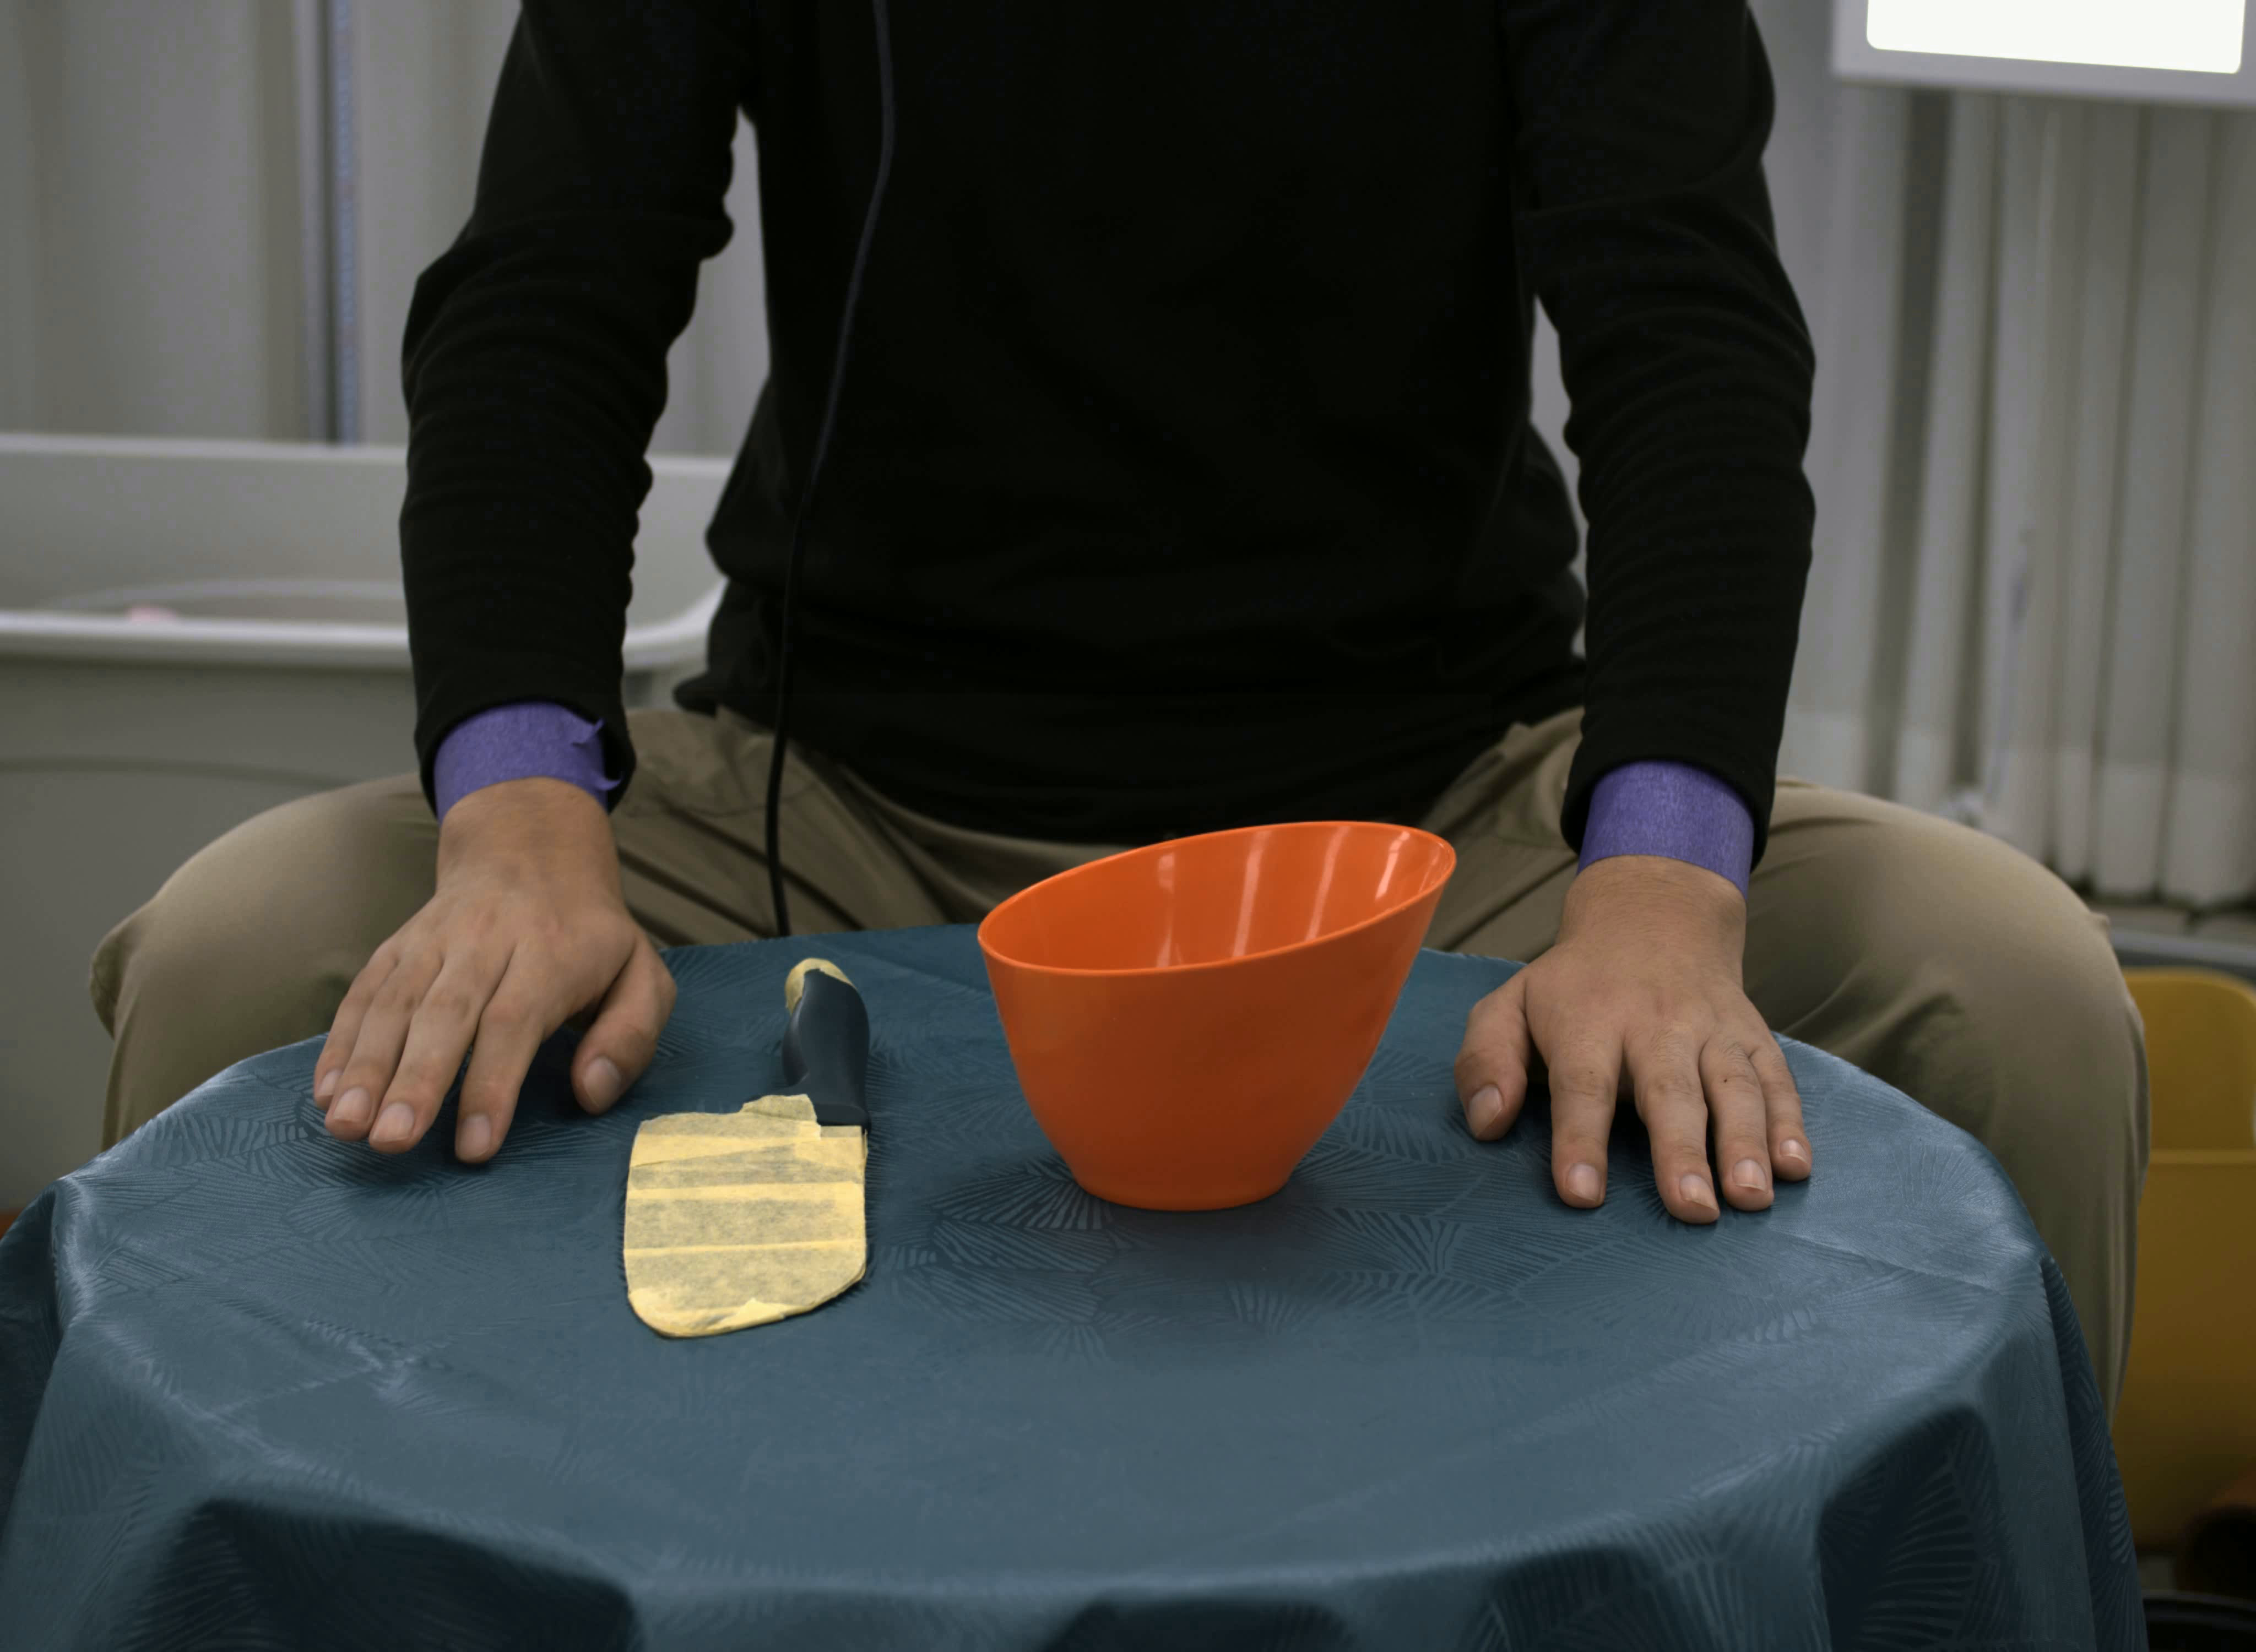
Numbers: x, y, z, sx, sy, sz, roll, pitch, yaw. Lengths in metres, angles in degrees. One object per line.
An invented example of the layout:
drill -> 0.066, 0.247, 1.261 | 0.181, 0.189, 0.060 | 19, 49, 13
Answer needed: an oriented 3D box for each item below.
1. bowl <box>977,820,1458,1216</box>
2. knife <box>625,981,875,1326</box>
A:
bowl -> 0.027, 0.060, 1.619 | 0.147, 0.105, 0.147 | 0, 17, 1
knife -> -0.115, 0.101, 1.634 | 0.081, 0.027, 0.288 | 3, 17, -1
